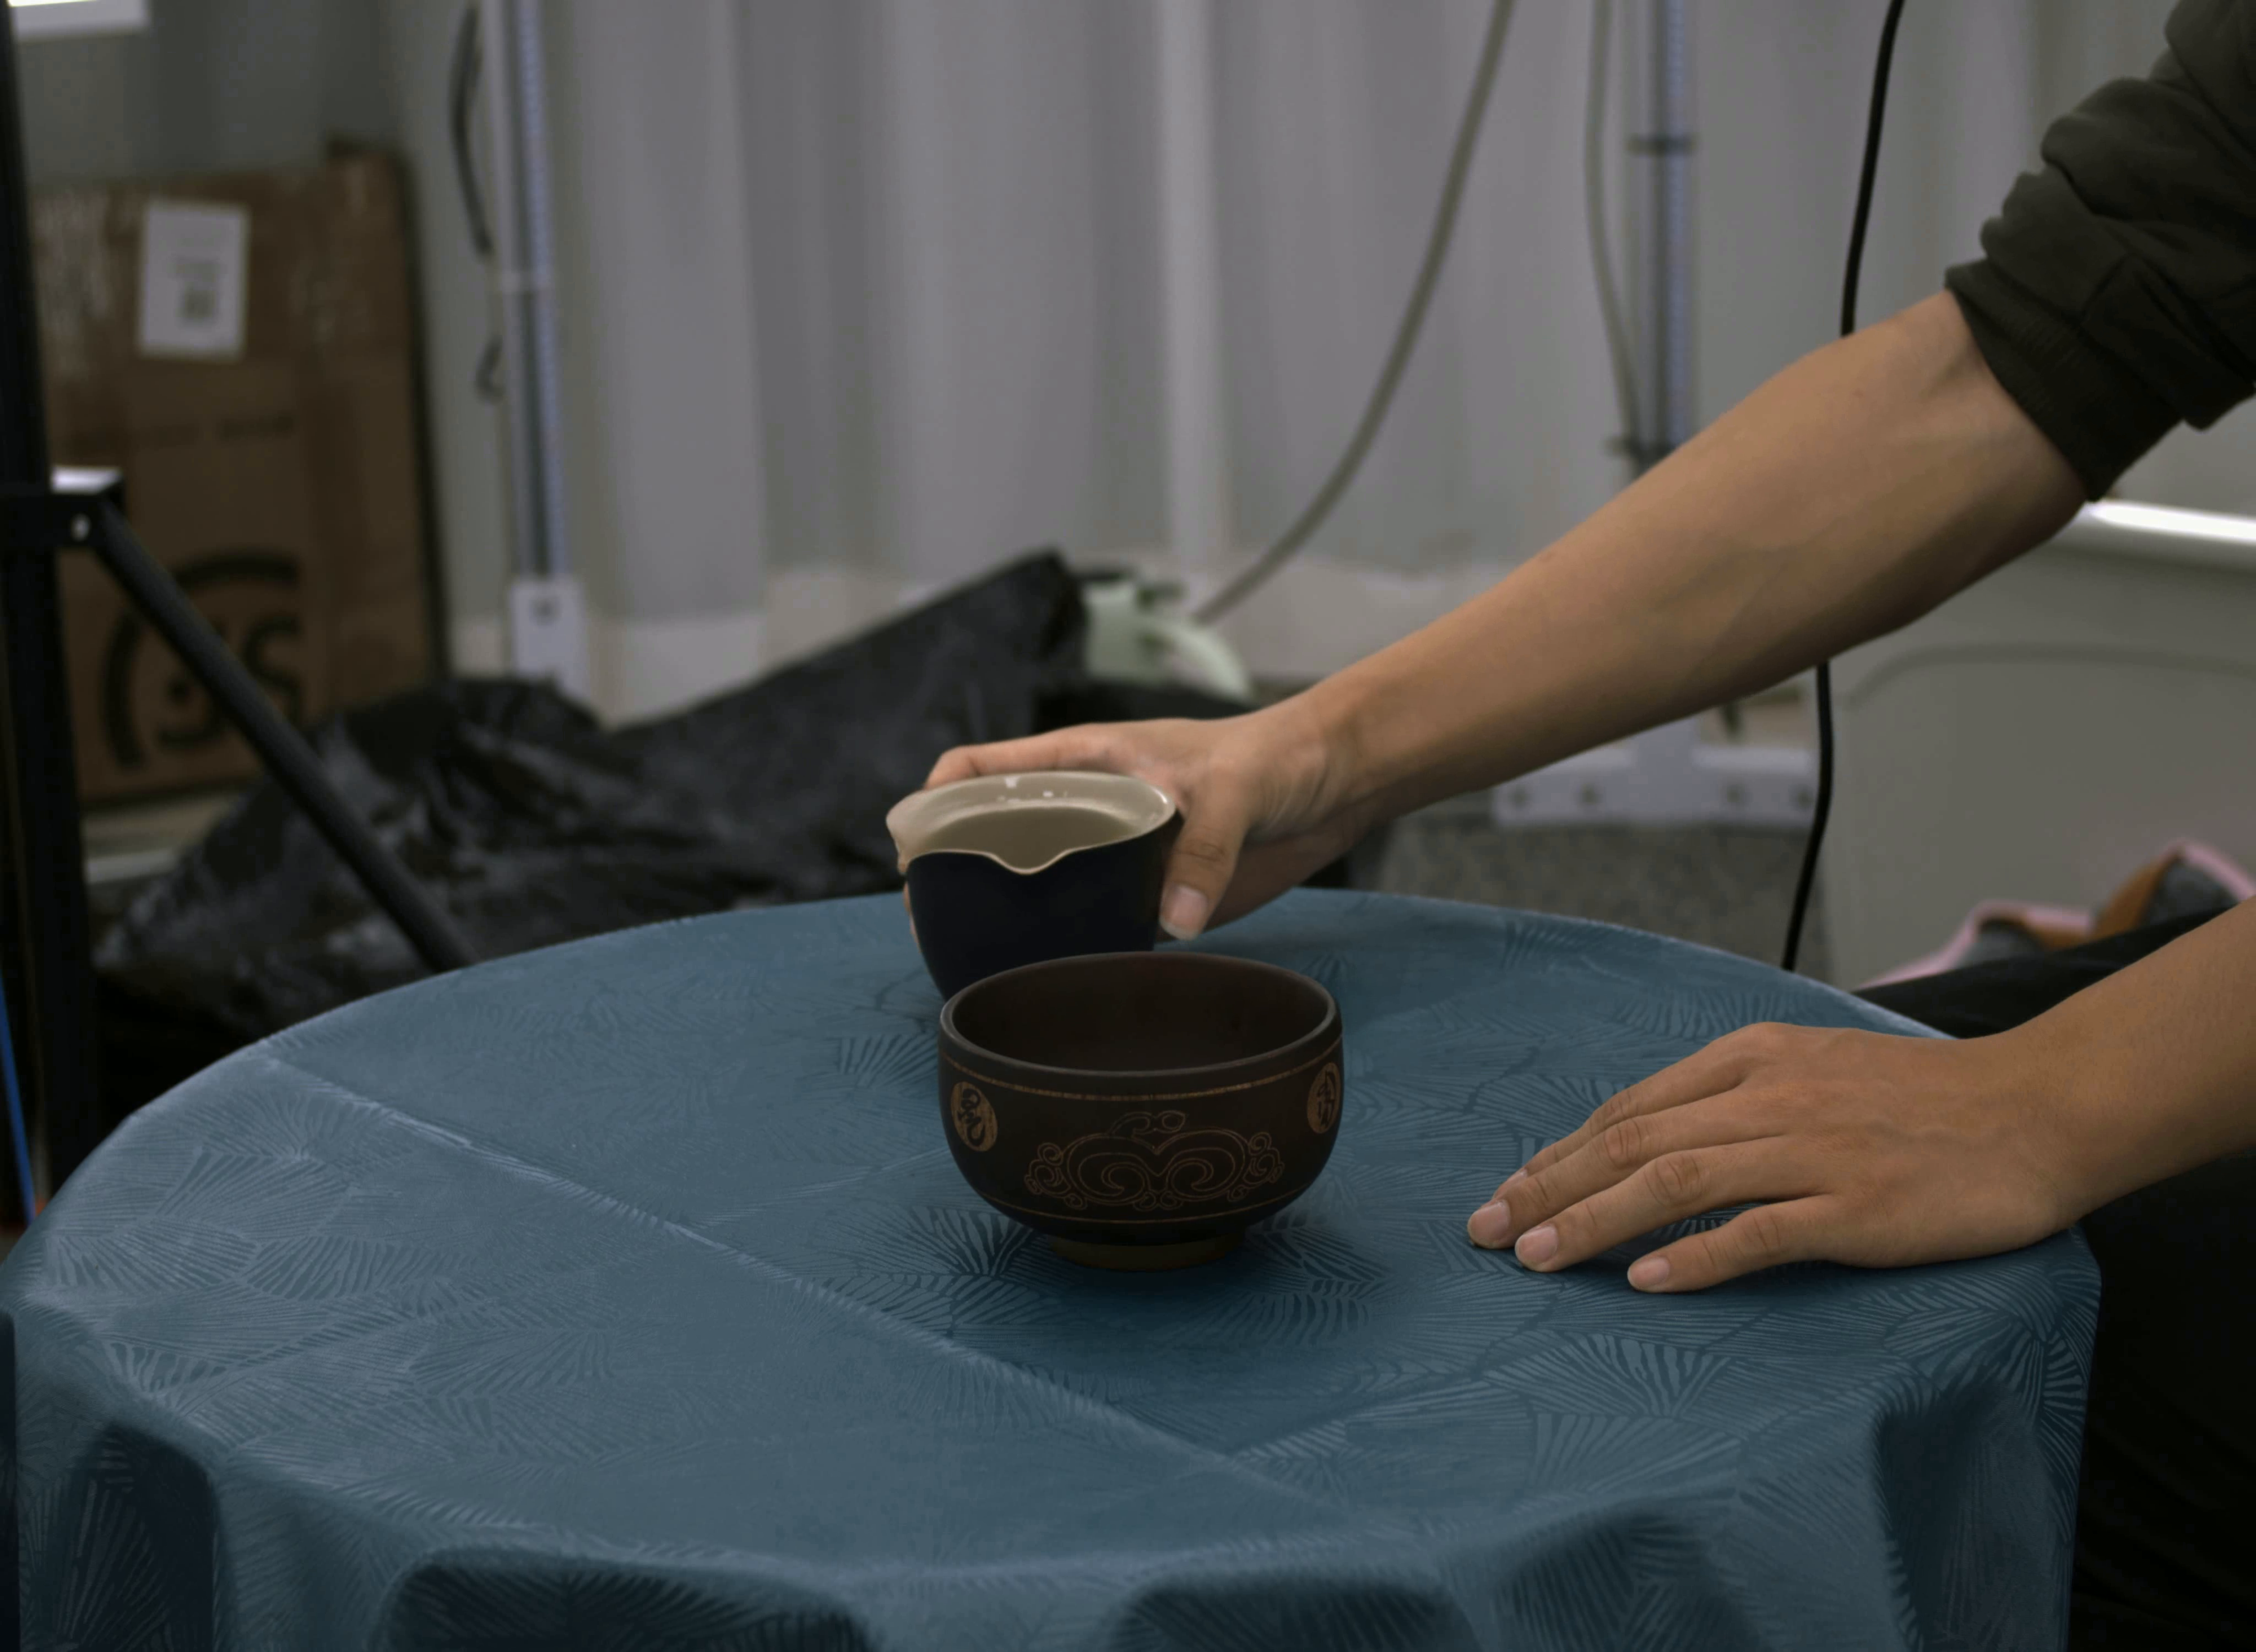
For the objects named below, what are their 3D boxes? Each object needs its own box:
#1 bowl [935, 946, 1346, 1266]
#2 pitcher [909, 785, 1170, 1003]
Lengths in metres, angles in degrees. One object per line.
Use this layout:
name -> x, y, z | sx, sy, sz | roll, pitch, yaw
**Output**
bowl -> 0.005, 0.084, 1.515 | 0.117, 0.070, 0.118 | -5, 15, 0
pitcher -> -0.028, 0.028, 1.706 | 0.084, 0.071, 0.096 | 0, 16, 8
